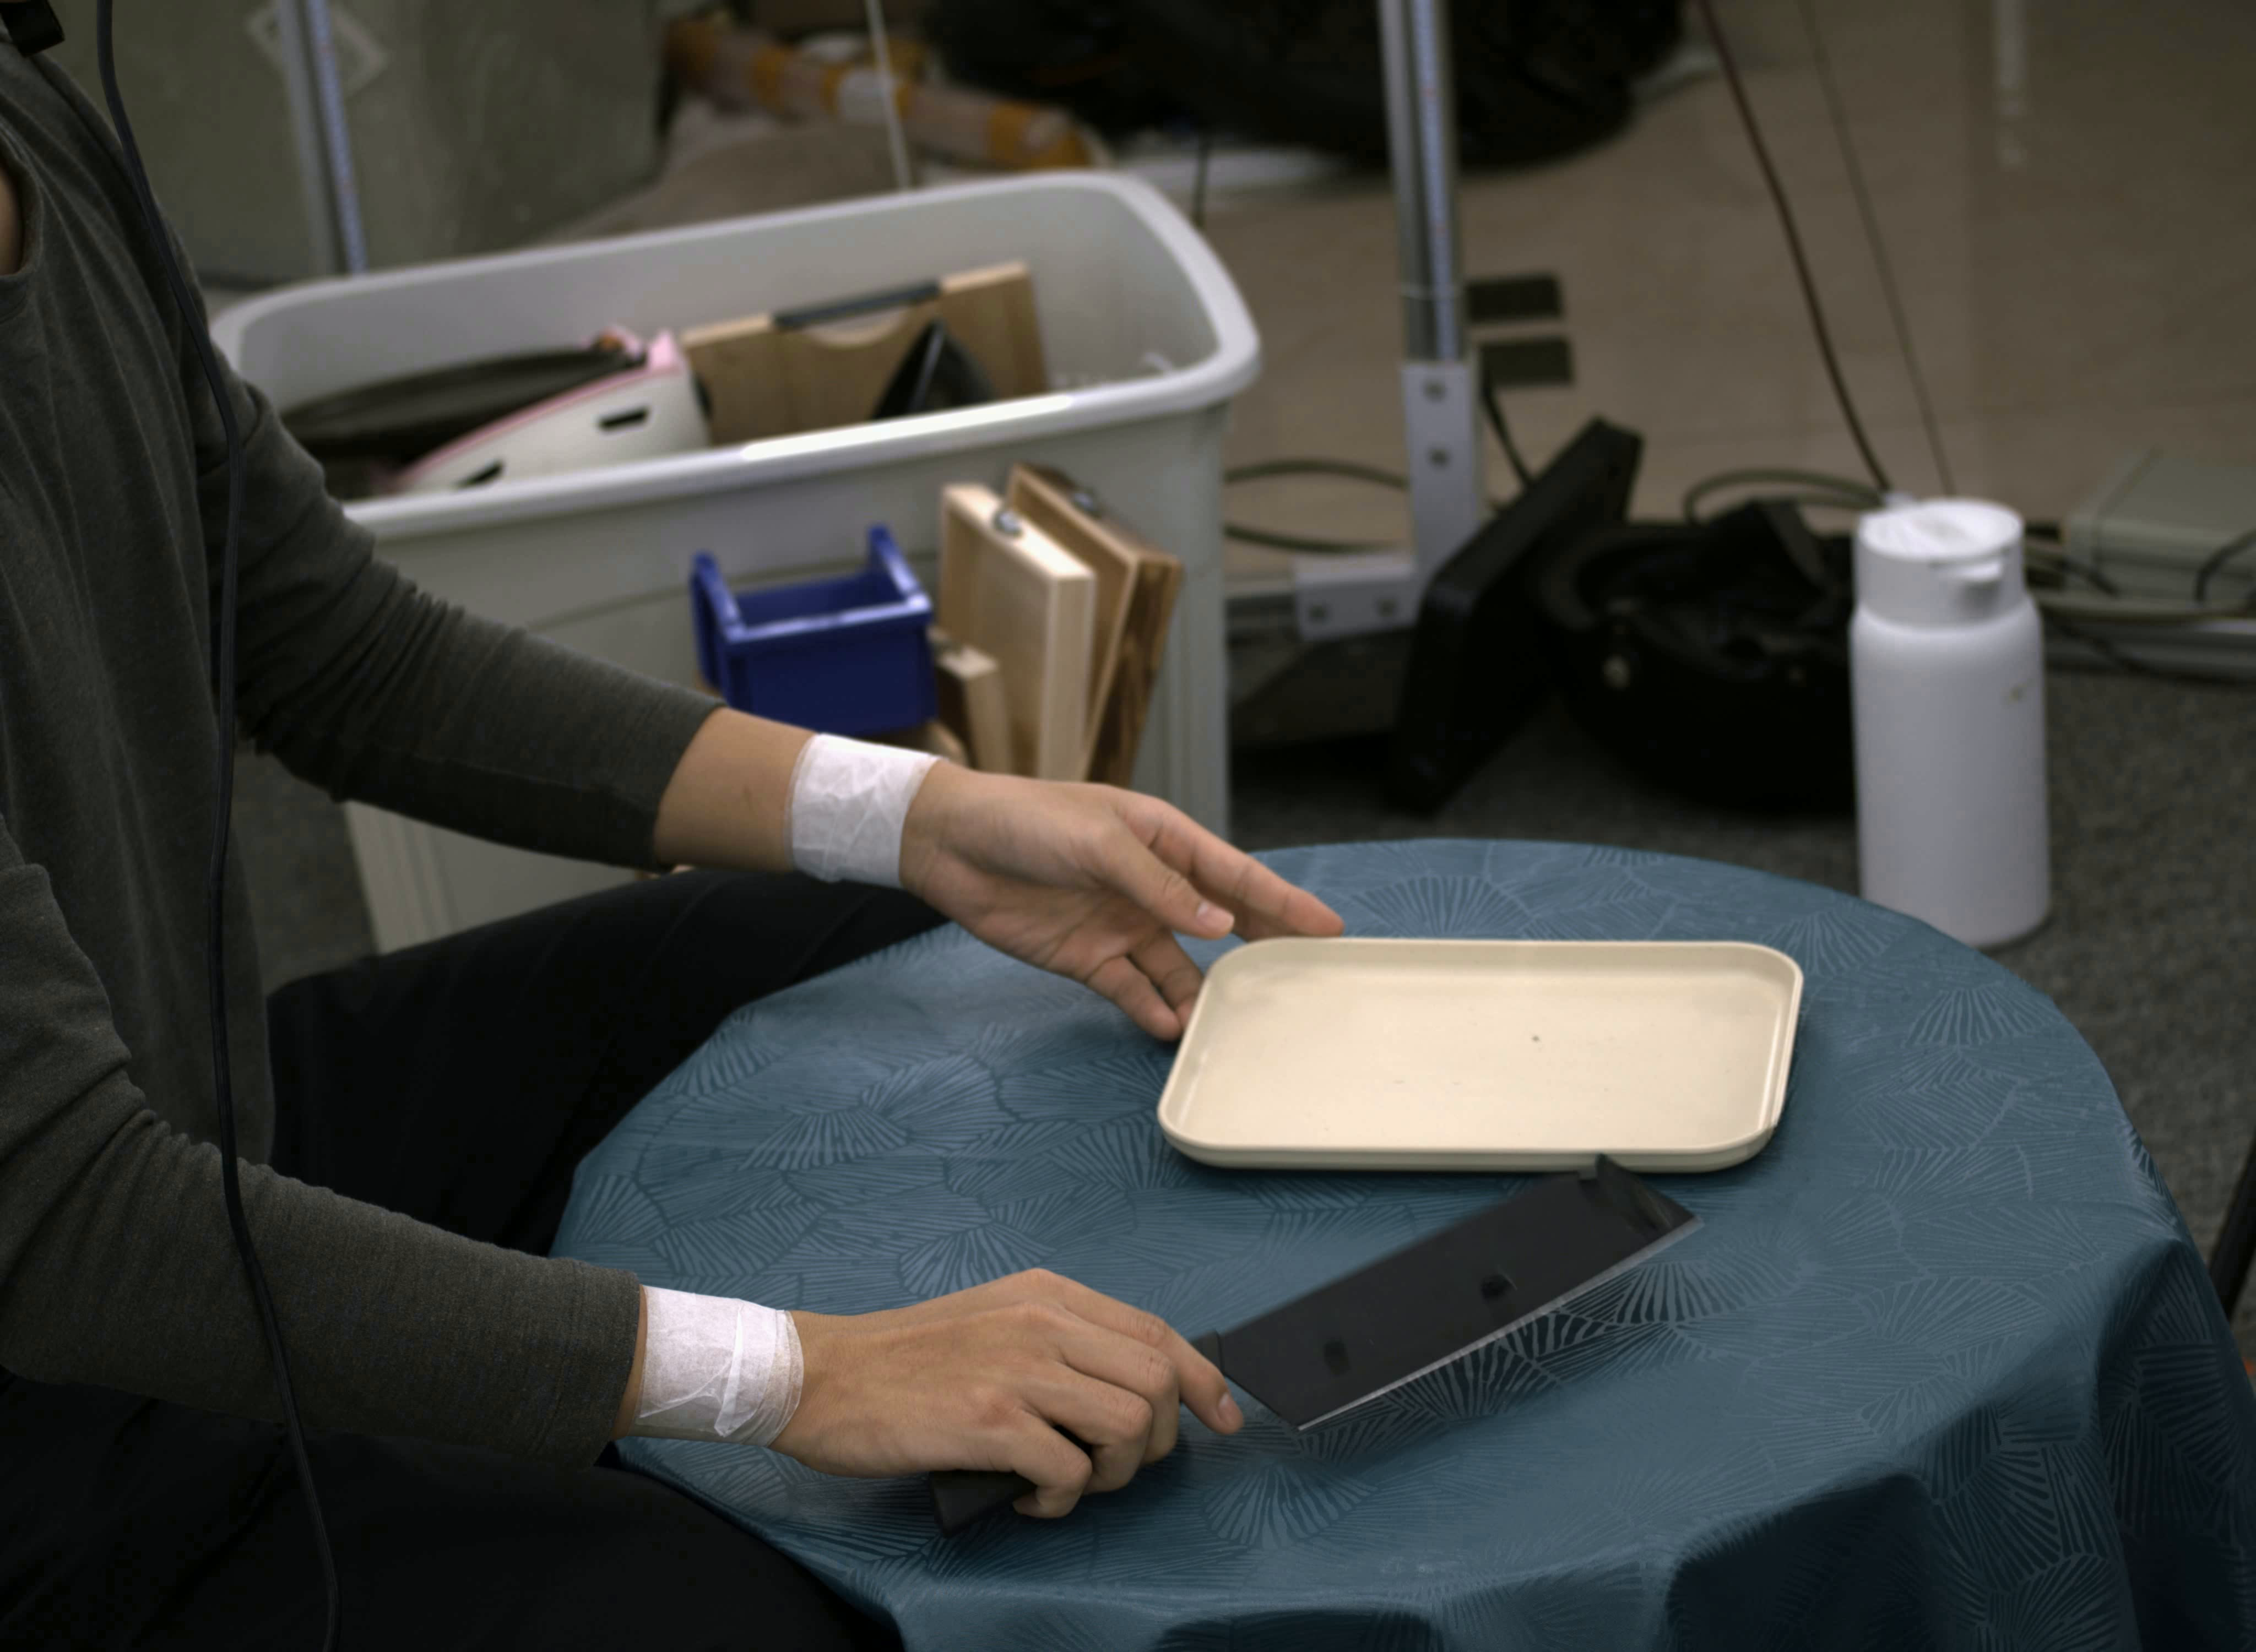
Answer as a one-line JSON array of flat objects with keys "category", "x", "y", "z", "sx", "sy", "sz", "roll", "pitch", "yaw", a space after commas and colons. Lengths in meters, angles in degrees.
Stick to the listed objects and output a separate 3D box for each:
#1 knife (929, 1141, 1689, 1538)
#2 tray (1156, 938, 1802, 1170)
[{"category": "knife", "x": 0.062, "y": 0.179, "z": 1.980, "sx": 0.300, "sy": 0.021, "sz": 0.080, "roll": -22, "pitch": 33, "yaw": -22}, {"category": "tray", "x": 0.138, "y": 0.089, "z": 2.197, "sx": 0.239, "sy": 0.018, "sz": 0.169, "roll": 0, "pitch": 26, "yaw": 12}]
